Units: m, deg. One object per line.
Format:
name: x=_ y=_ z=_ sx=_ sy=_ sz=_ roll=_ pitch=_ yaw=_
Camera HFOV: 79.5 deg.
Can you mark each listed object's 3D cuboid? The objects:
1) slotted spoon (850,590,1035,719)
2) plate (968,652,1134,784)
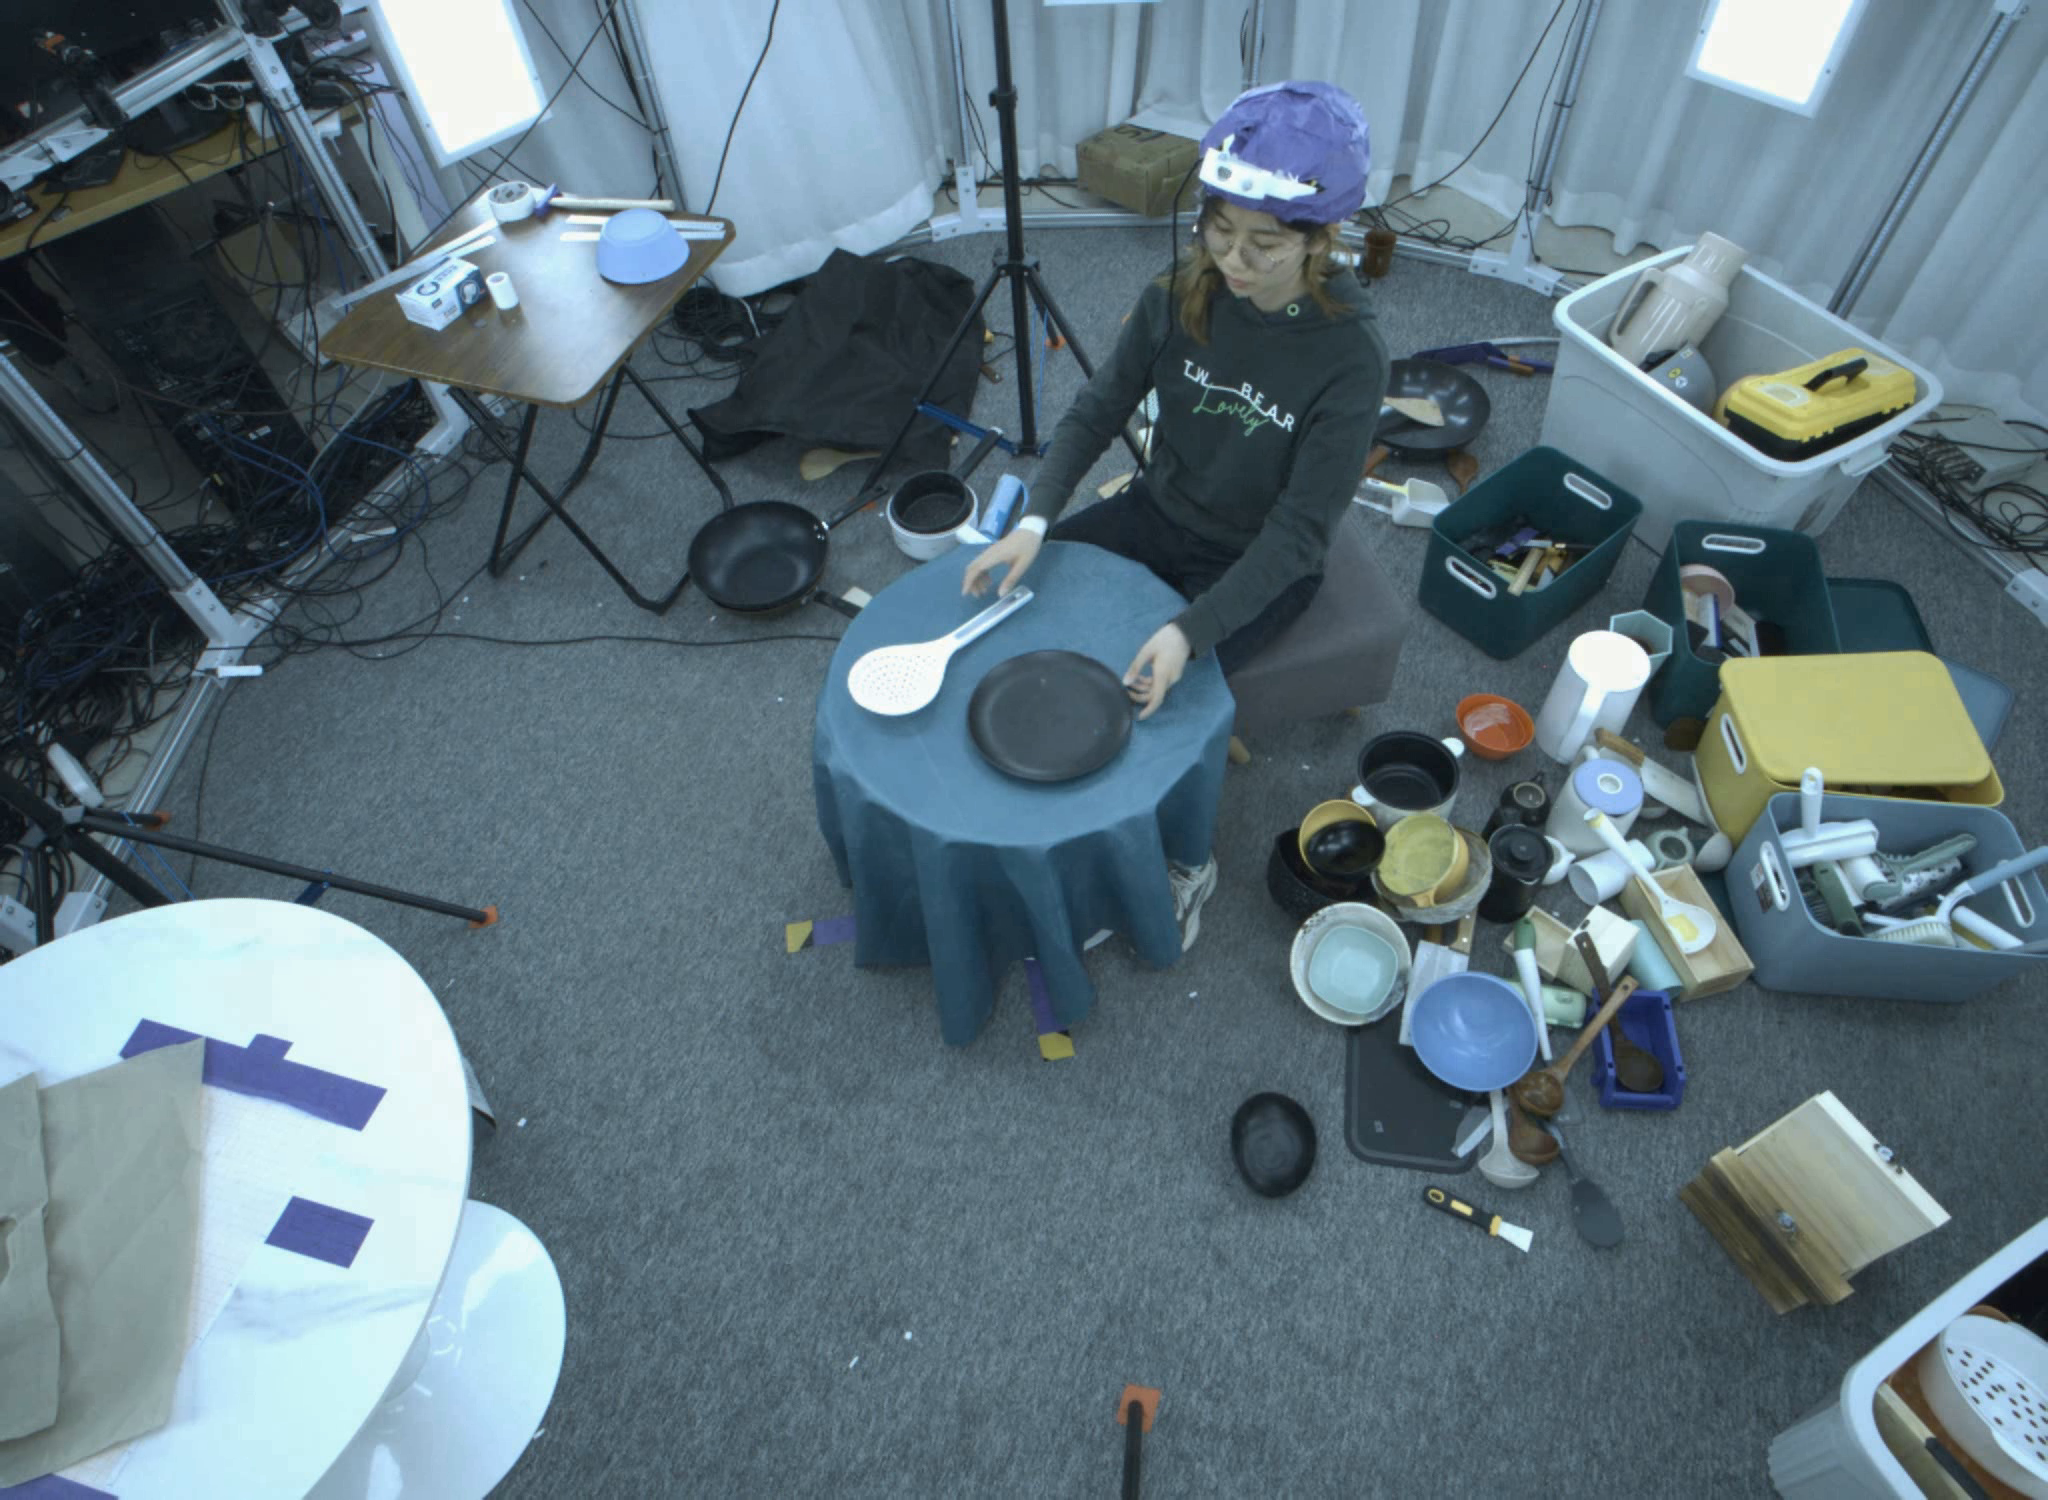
slotted spoon: x=-0.114 y=-0.155 z=1.882 sx=0.134 sy=0.046 sz=0.352 roll=39 pitch=64 yaw=23
plate: x=0.040 y=-0.045 z=1.814 sx=0.244 sy=0.023 sz=0.242 roll=0 pitch=55 yaw=2
